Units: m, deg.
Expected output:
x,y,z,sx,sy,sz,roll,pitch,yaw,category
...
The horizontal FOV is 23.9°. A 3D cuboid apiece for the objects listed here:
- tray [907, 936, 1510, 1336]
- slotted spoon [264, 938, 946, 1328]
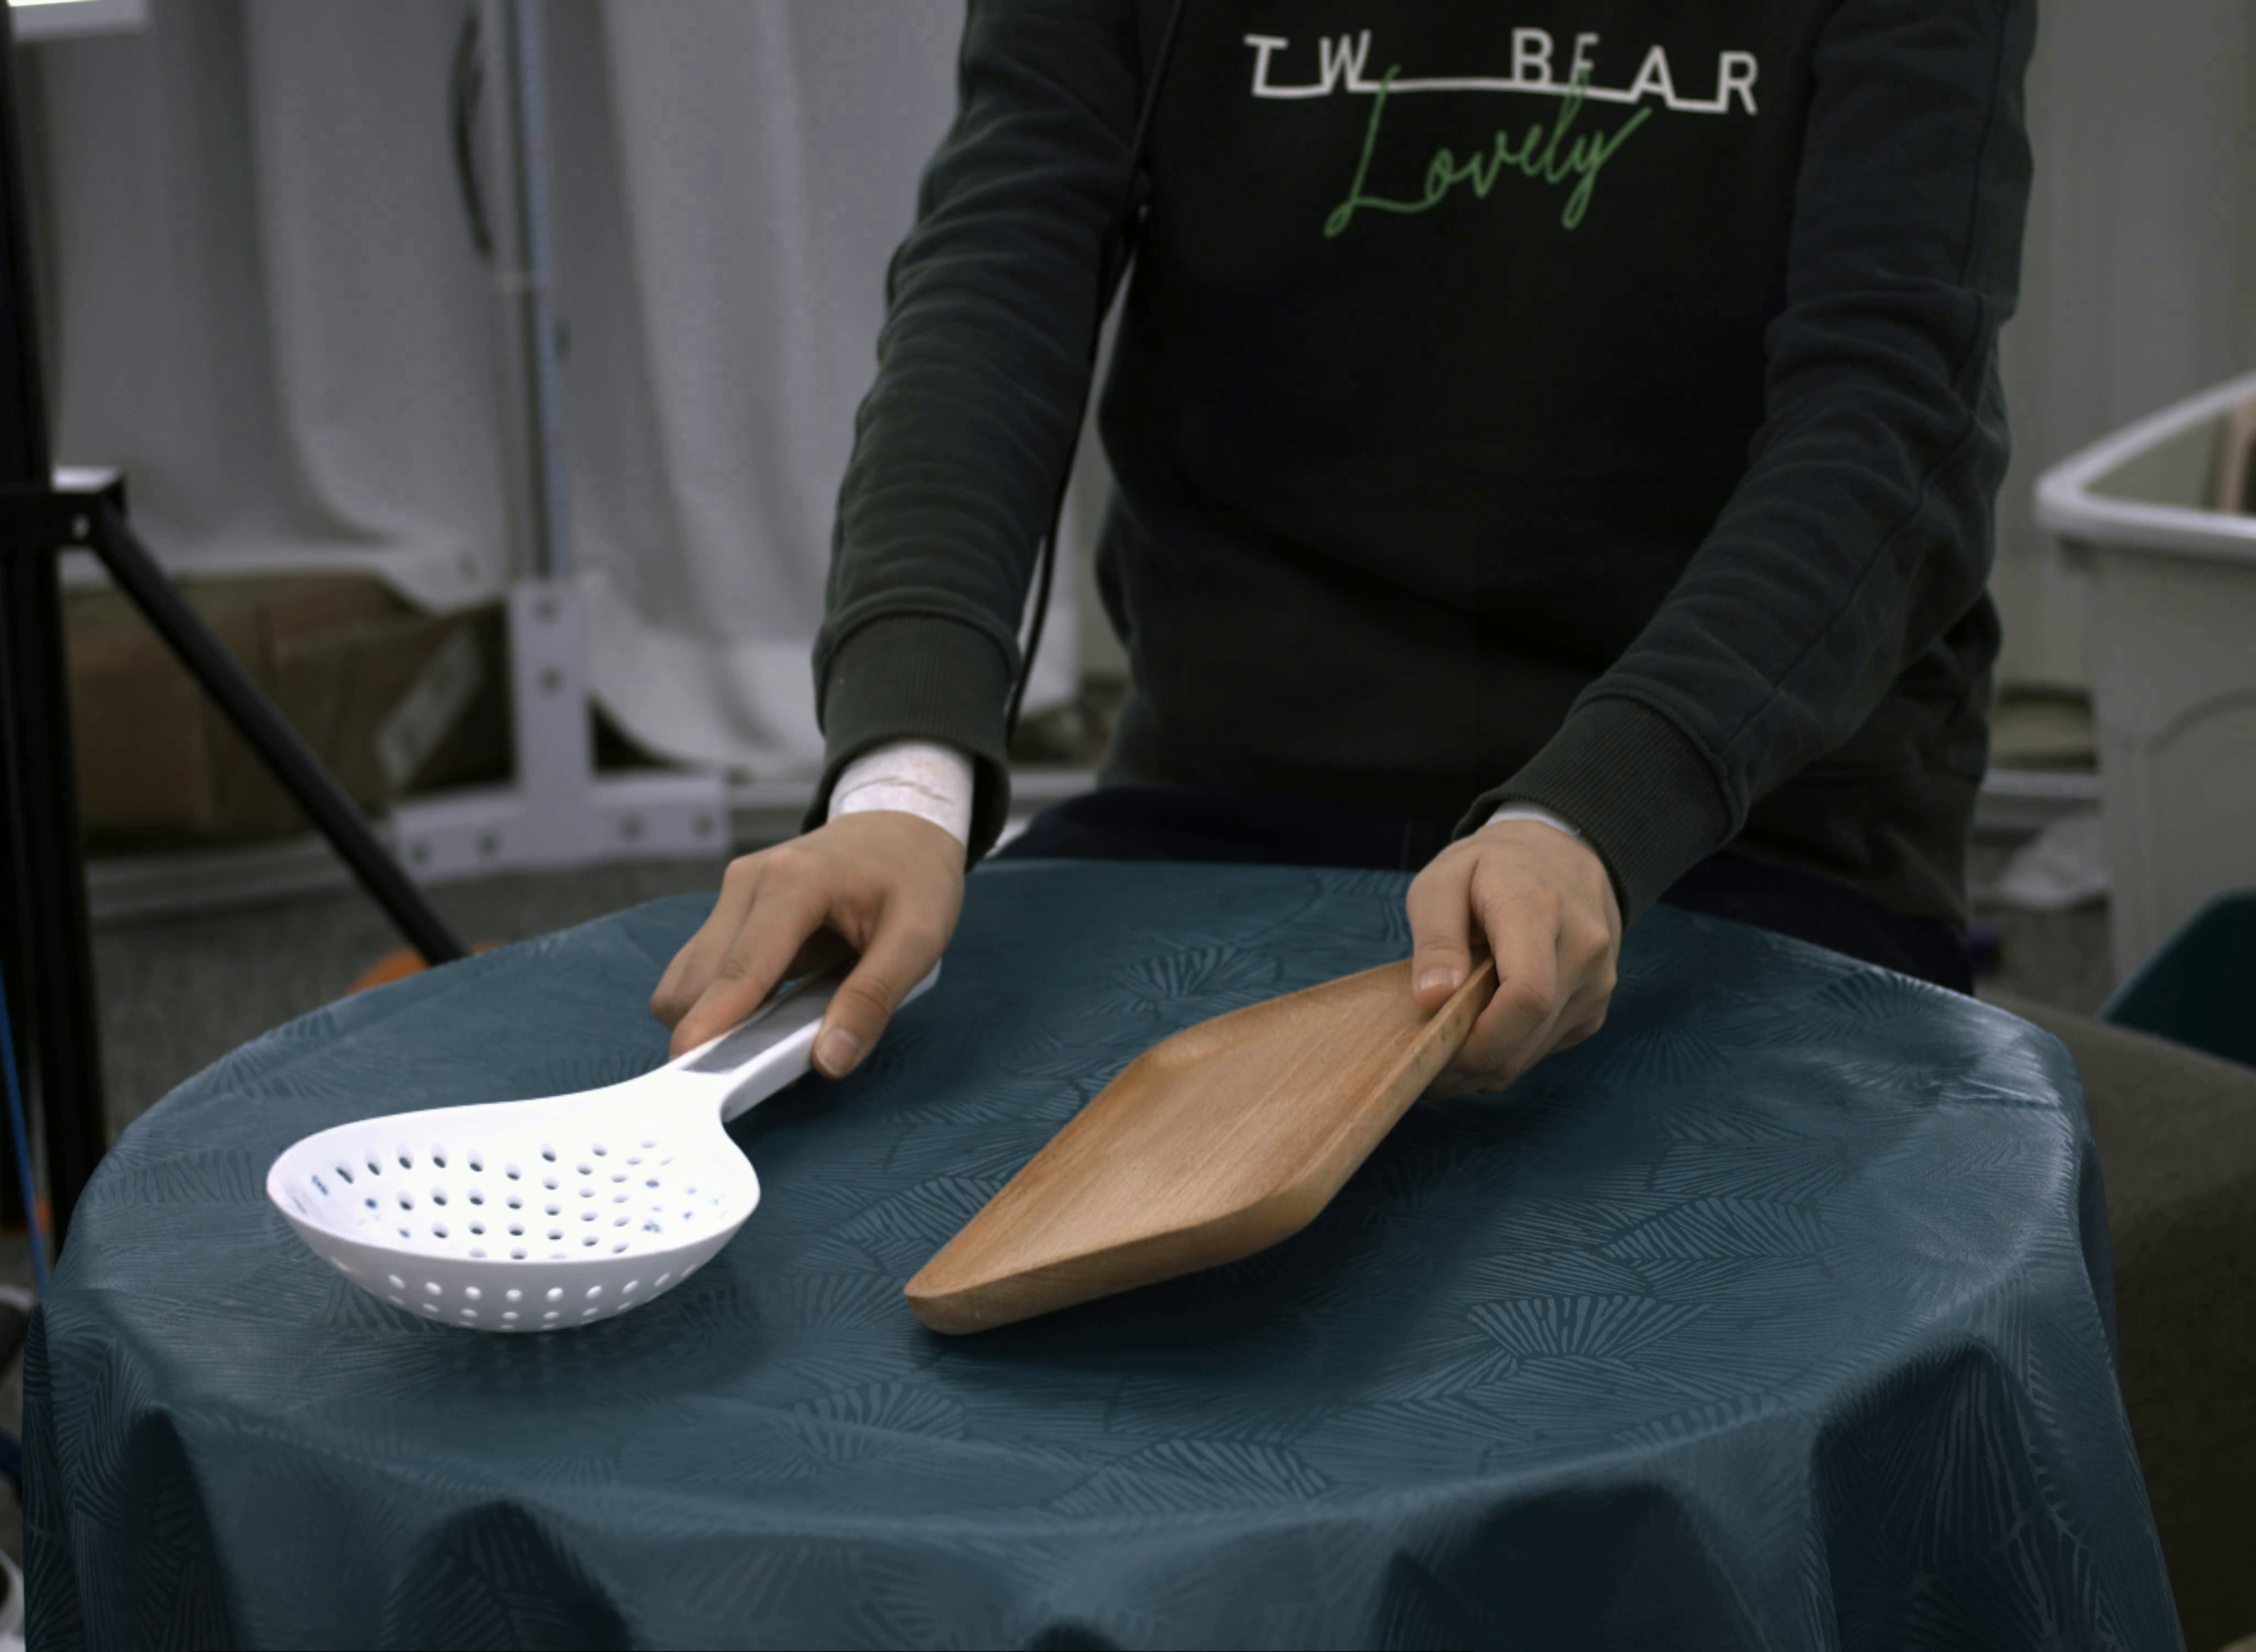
x,y,z,sx,sy,sz,roll,pitch,yaw,category
0.029,0.087,1.526,0.132,0.023,0.248,-15,10,23,tray
-0.133,0.081,1.574,0.138,0.046,0.345,9,20,20,slotted spoon
